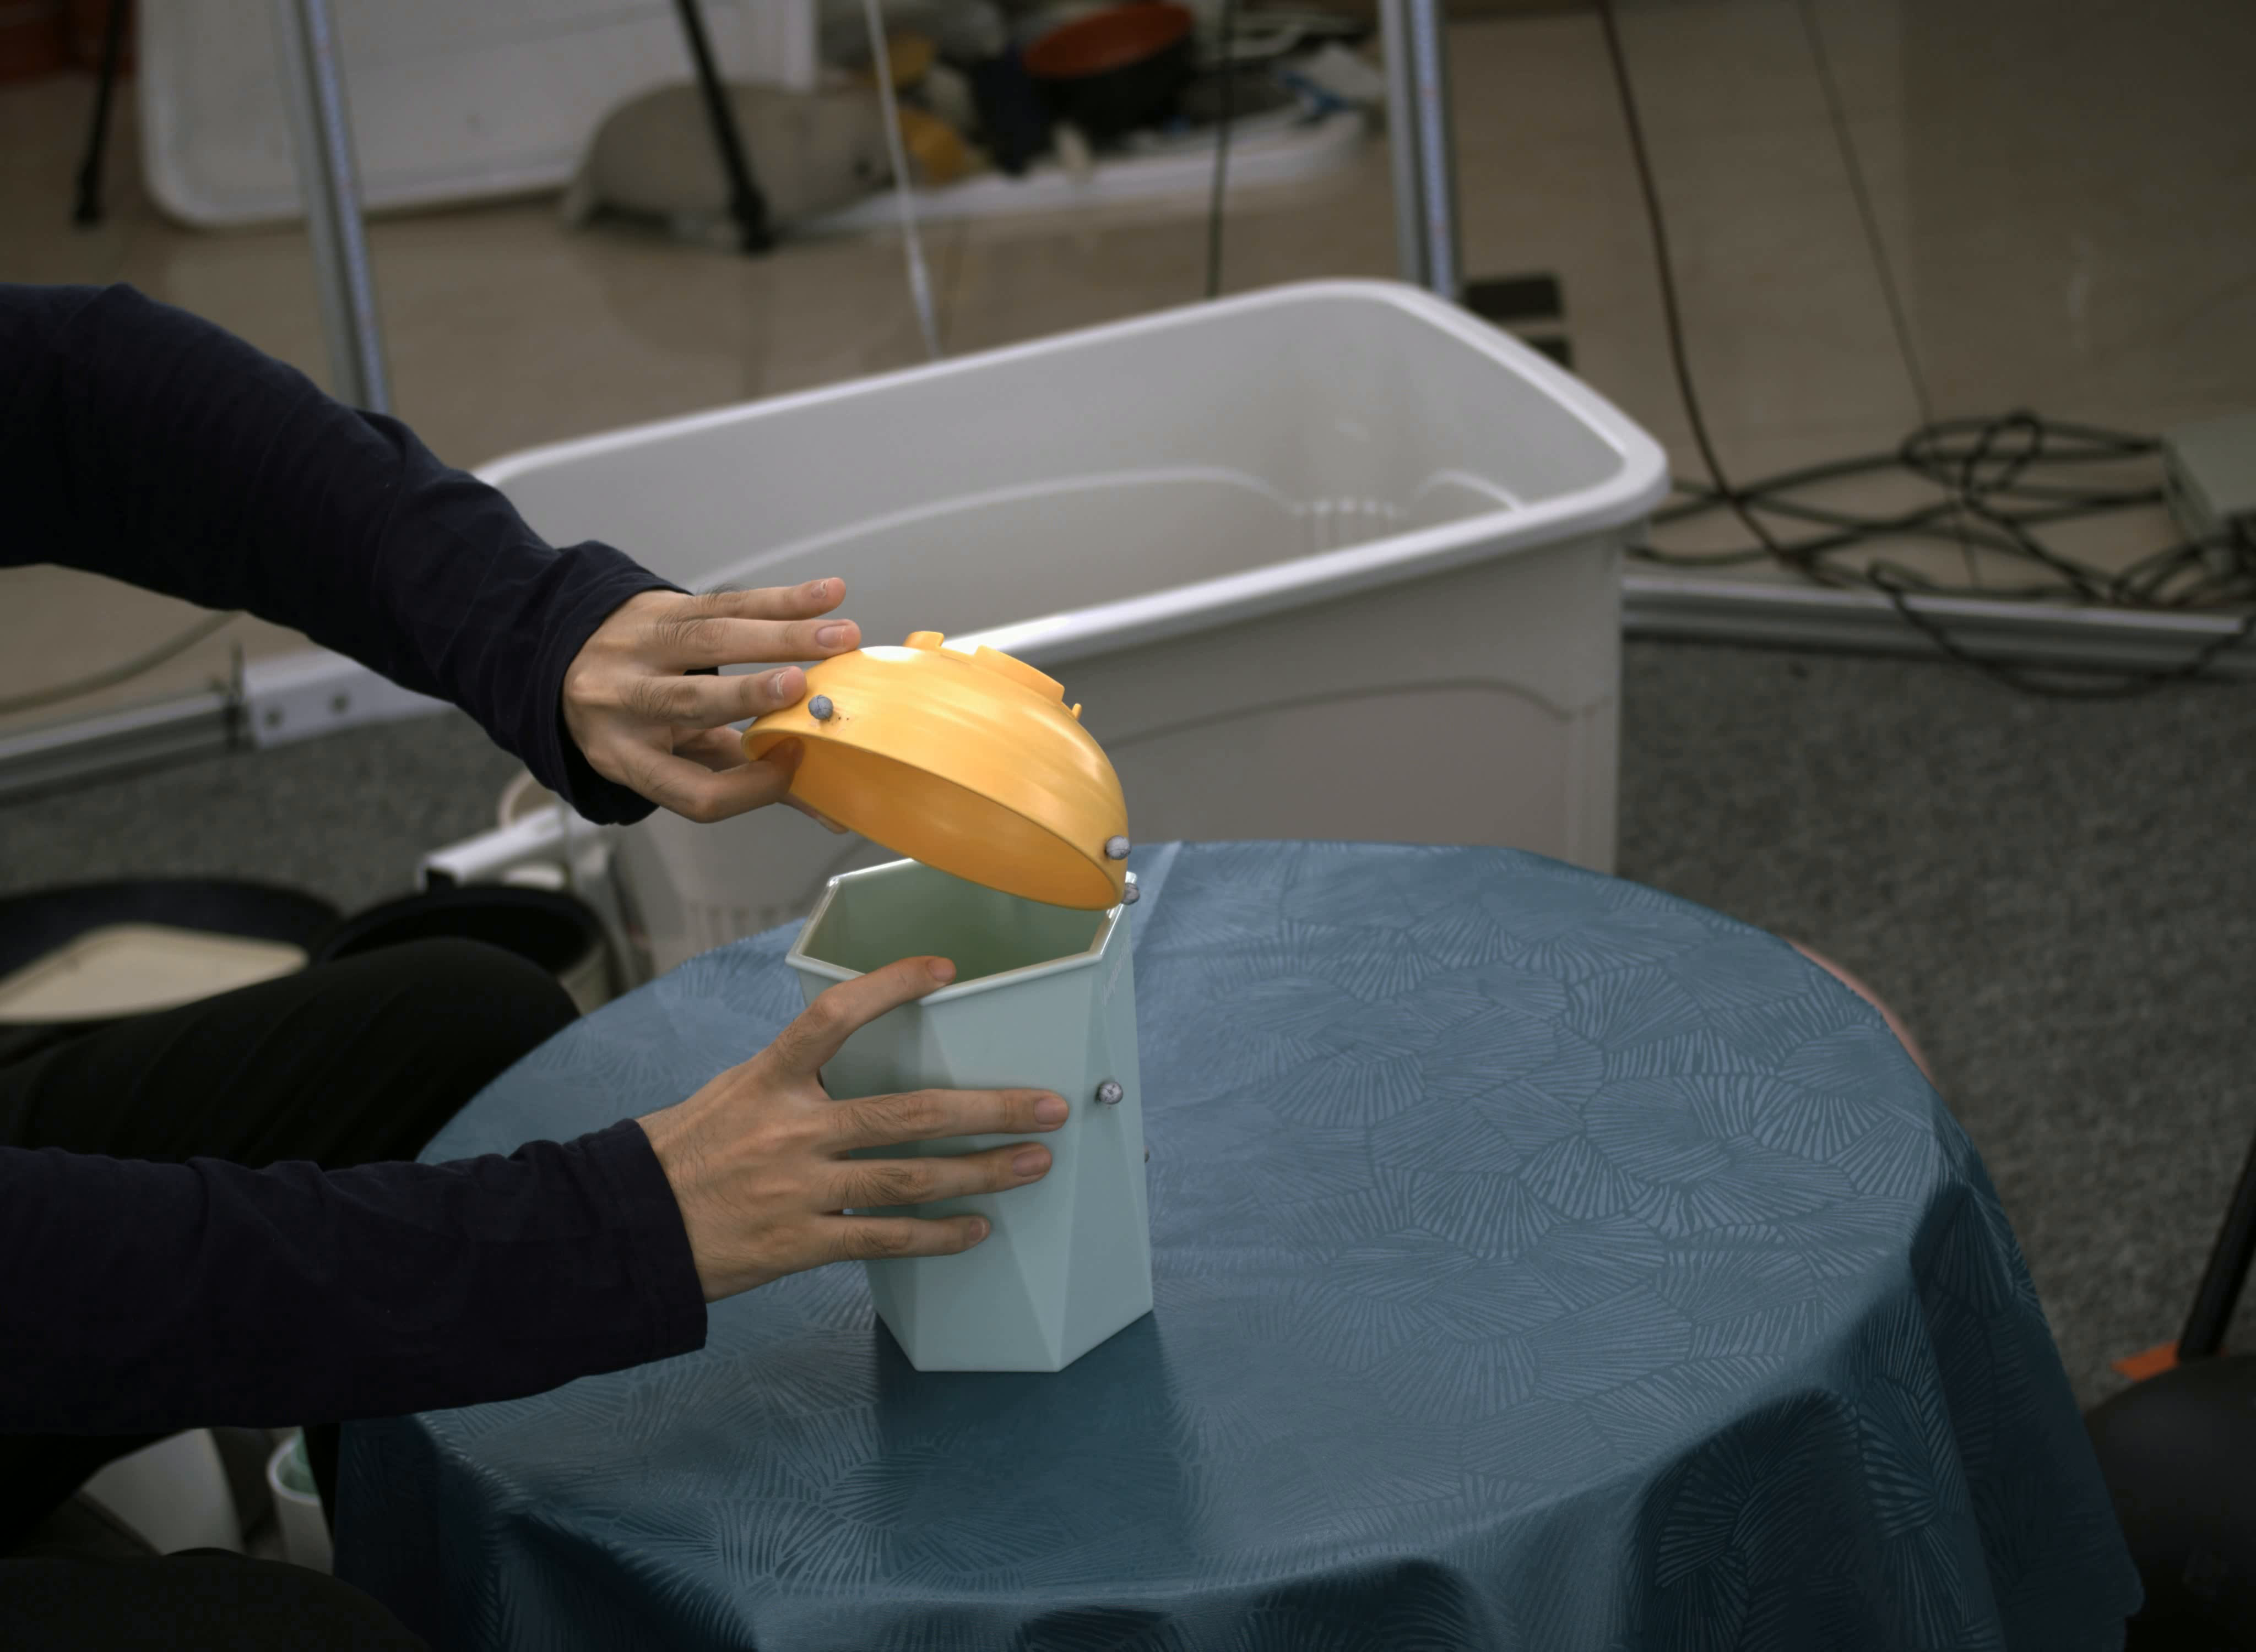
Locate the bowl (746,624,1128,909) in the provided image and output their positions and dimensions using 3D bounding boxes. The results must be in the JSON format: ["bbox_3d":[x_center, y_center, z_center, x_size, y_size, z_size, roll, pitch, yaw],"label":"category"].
[{"bbox_3d":[-0.057,-0.030,1.978,0.144,0.147,0.060,14,73,37],"label":"bowl"}]

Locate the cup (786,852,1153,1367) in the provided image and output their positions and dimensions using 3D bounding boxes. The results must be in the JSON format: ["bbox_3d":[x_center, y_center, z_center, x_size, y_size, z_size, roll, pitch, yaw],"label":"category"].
[{"bbox_3d":[-0.049,0.102,2.041,0.115,0.165,0.129,-2,25,12],"label":"cup"}]
